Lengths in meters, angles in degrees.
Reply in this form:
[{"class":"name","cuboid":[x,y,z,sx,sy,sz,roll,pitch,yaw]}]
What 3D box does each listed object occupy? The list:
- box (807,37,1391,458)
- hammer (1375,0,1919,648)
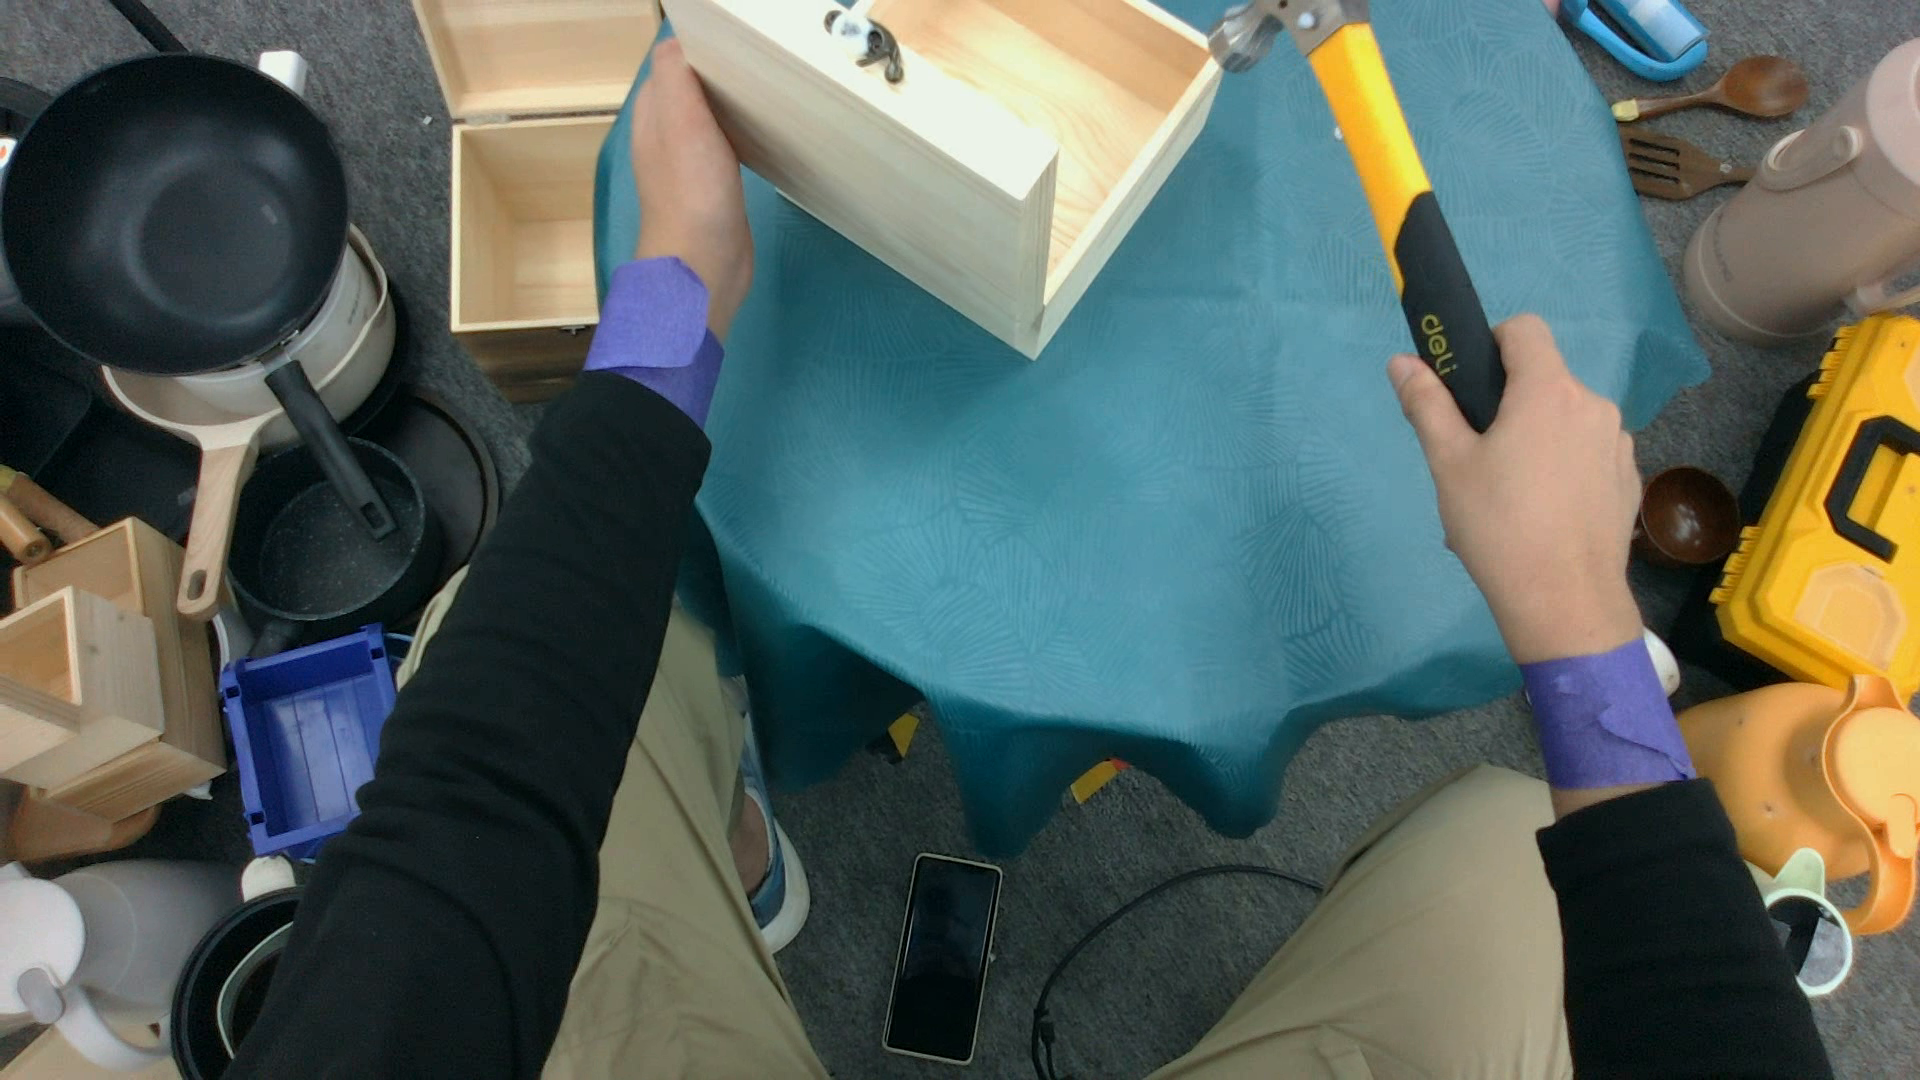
[{"class":"box","cuboid":[0.091,-0.168,0.689,0.181,0.252,0.266,22,75,17]},{"class":"hammer","cuboid":[0.302,-0.110,0.595,0.032,0.131,0.339,-15,73,-29]}]
